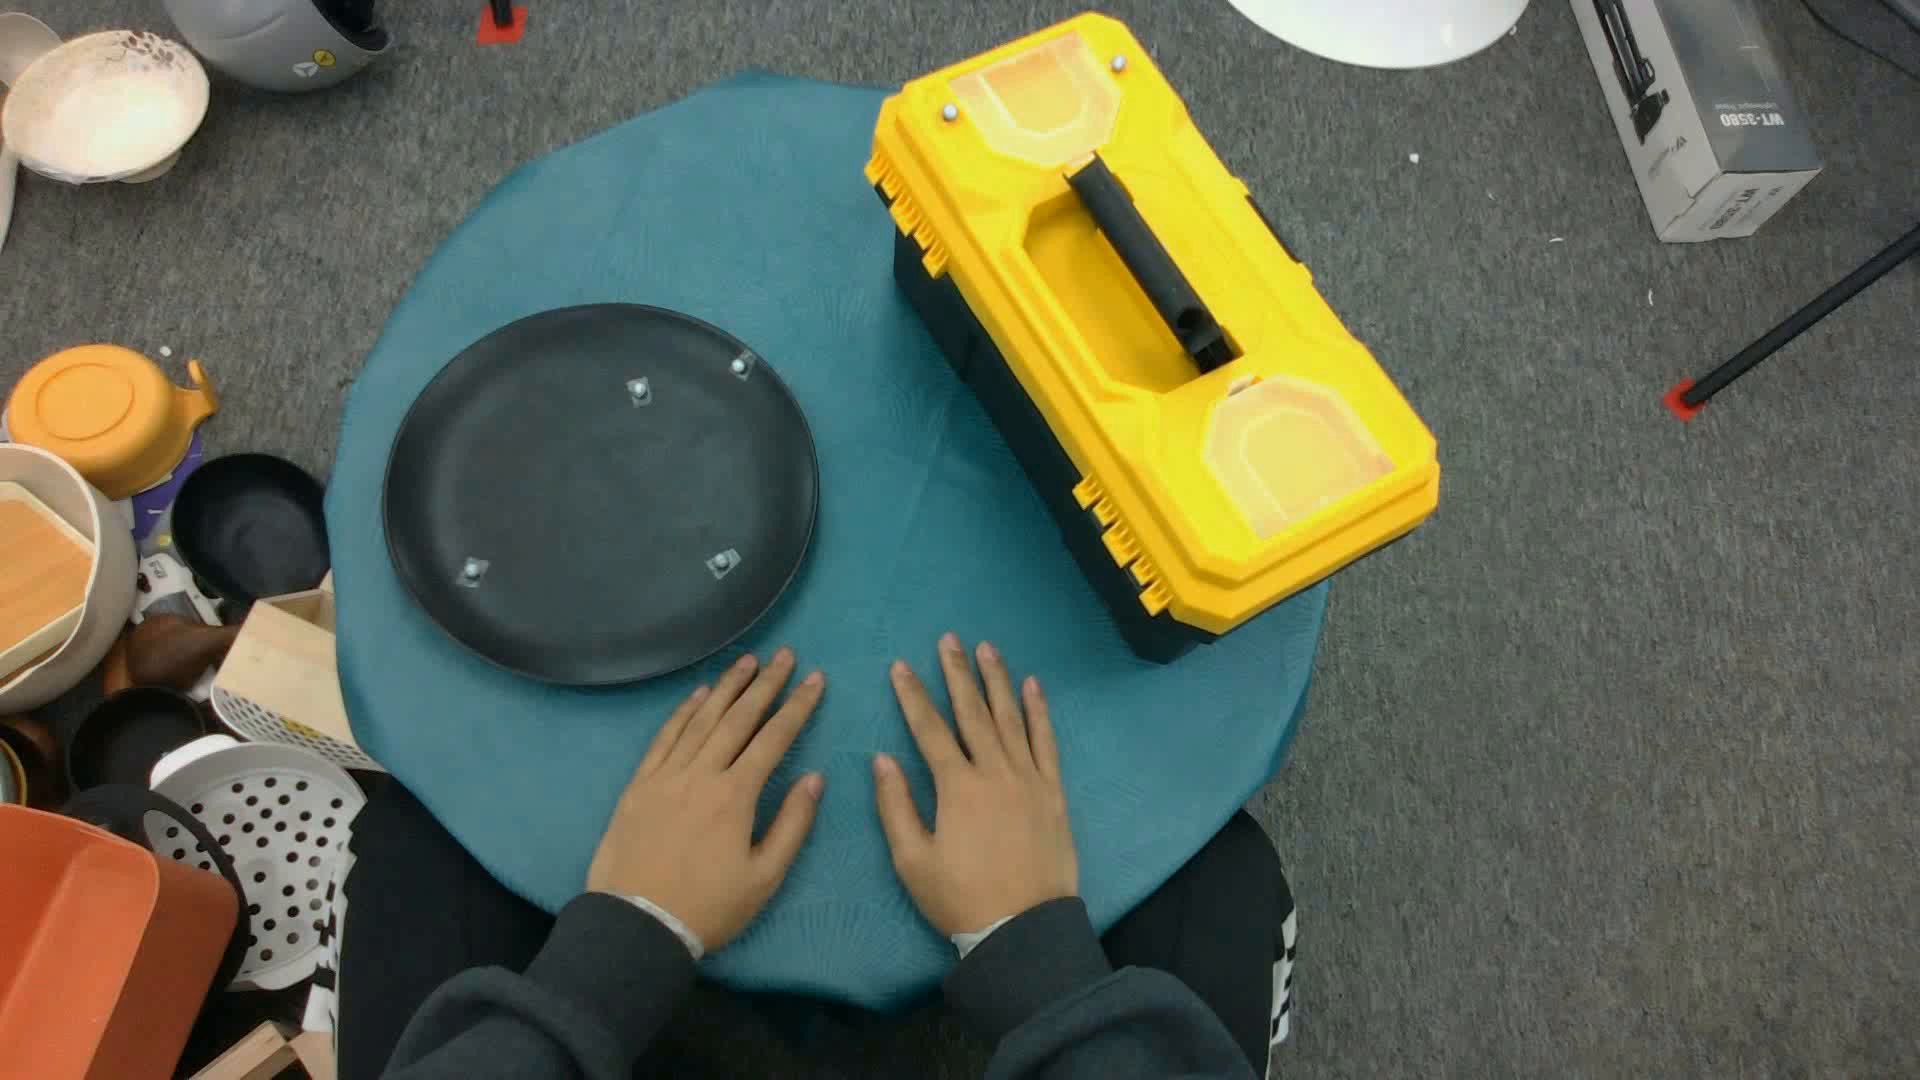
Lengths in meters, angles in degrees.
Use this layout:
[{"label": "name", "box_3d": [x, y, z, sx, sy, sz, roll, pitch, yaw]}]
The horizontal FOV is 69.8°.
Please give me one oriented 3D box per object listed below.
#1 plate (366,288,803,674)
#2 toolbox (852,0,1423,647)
[{"label": "plate", "box_3d": [-0.213, -0.037, 0.799, 0.244, 0.023, 0.245, 3, 67, -7]}, {"label": "toolbox", "box_3d": [0.088, -0.120, 0.792, 0.182, 0.172, 0.352, -27, 73, -17]}]
